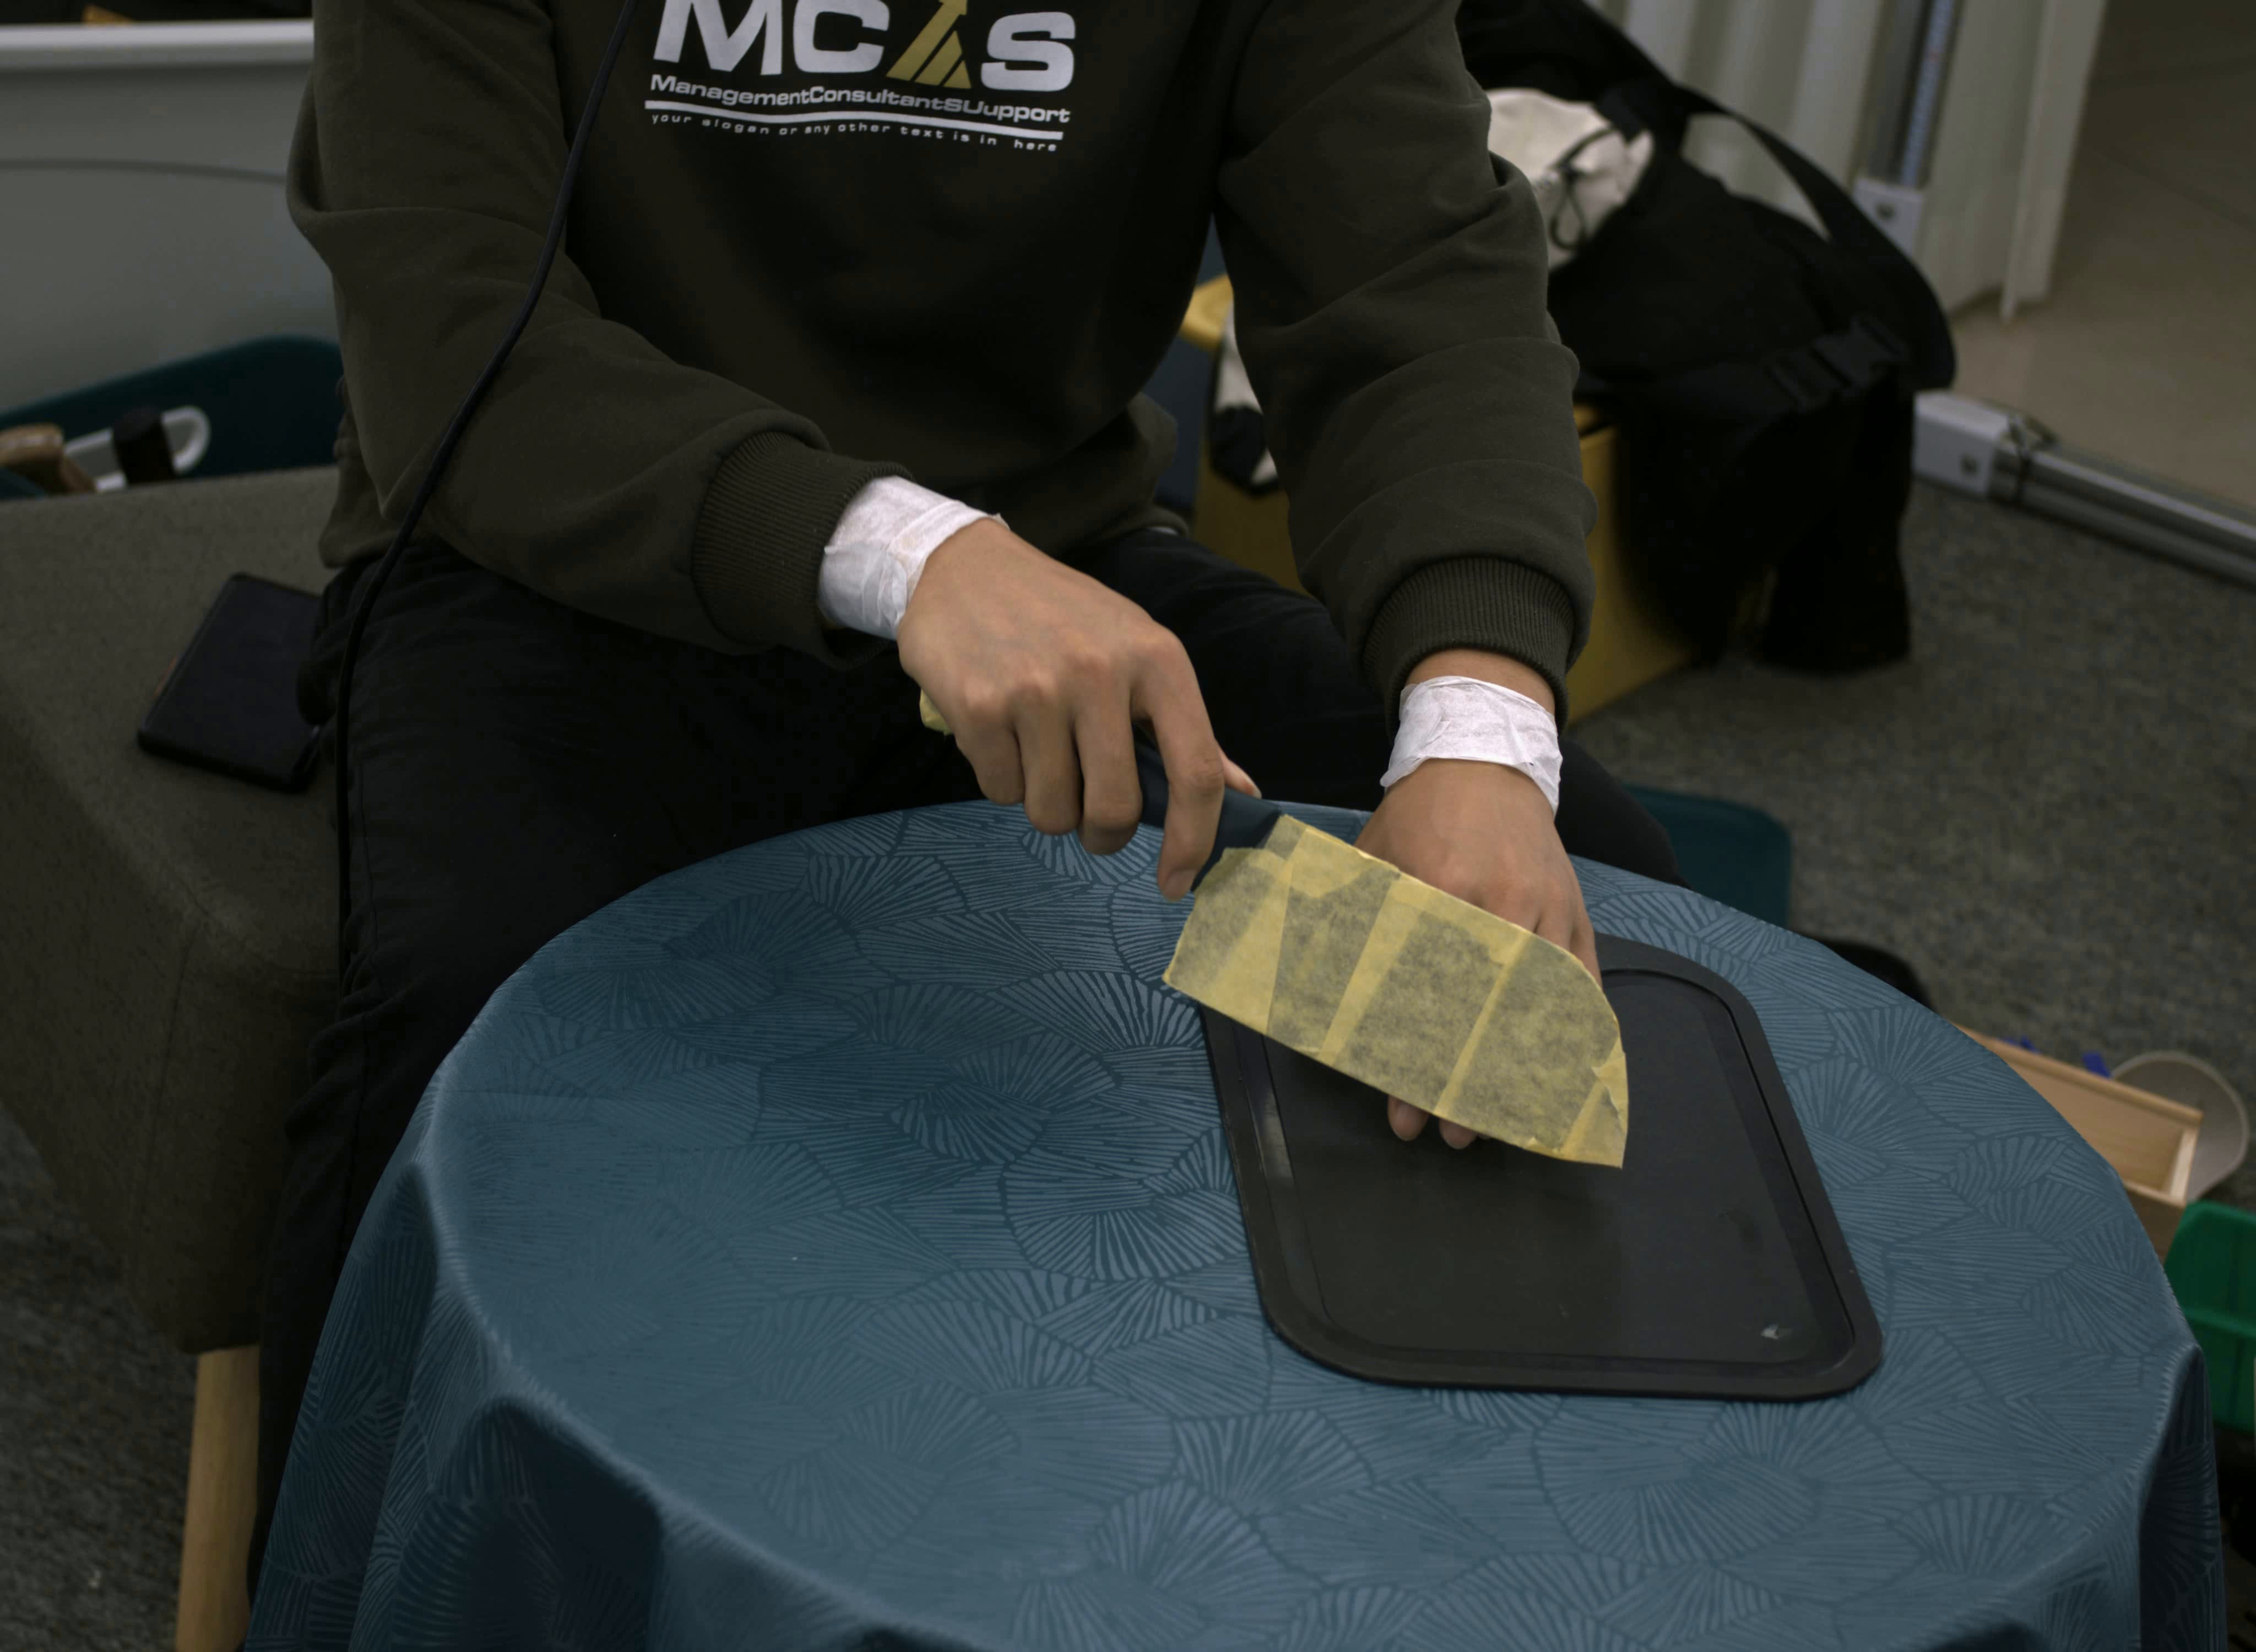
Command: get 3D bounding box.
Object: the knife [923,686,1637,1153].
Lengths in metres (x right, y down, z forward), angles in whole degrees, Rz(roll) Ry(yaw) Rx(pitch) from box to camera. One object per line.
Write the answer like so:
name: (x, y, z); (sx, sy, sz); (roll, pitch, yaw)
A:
knife: (0.049, 0.032, 1.851); (0.290, 0.081, 0.027); (29, 5, 11)

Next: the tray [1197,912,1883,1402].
tray: (0.136, 0.107, 1.861); (0.210, 0.010, 0.328); (3, 27, -7)
